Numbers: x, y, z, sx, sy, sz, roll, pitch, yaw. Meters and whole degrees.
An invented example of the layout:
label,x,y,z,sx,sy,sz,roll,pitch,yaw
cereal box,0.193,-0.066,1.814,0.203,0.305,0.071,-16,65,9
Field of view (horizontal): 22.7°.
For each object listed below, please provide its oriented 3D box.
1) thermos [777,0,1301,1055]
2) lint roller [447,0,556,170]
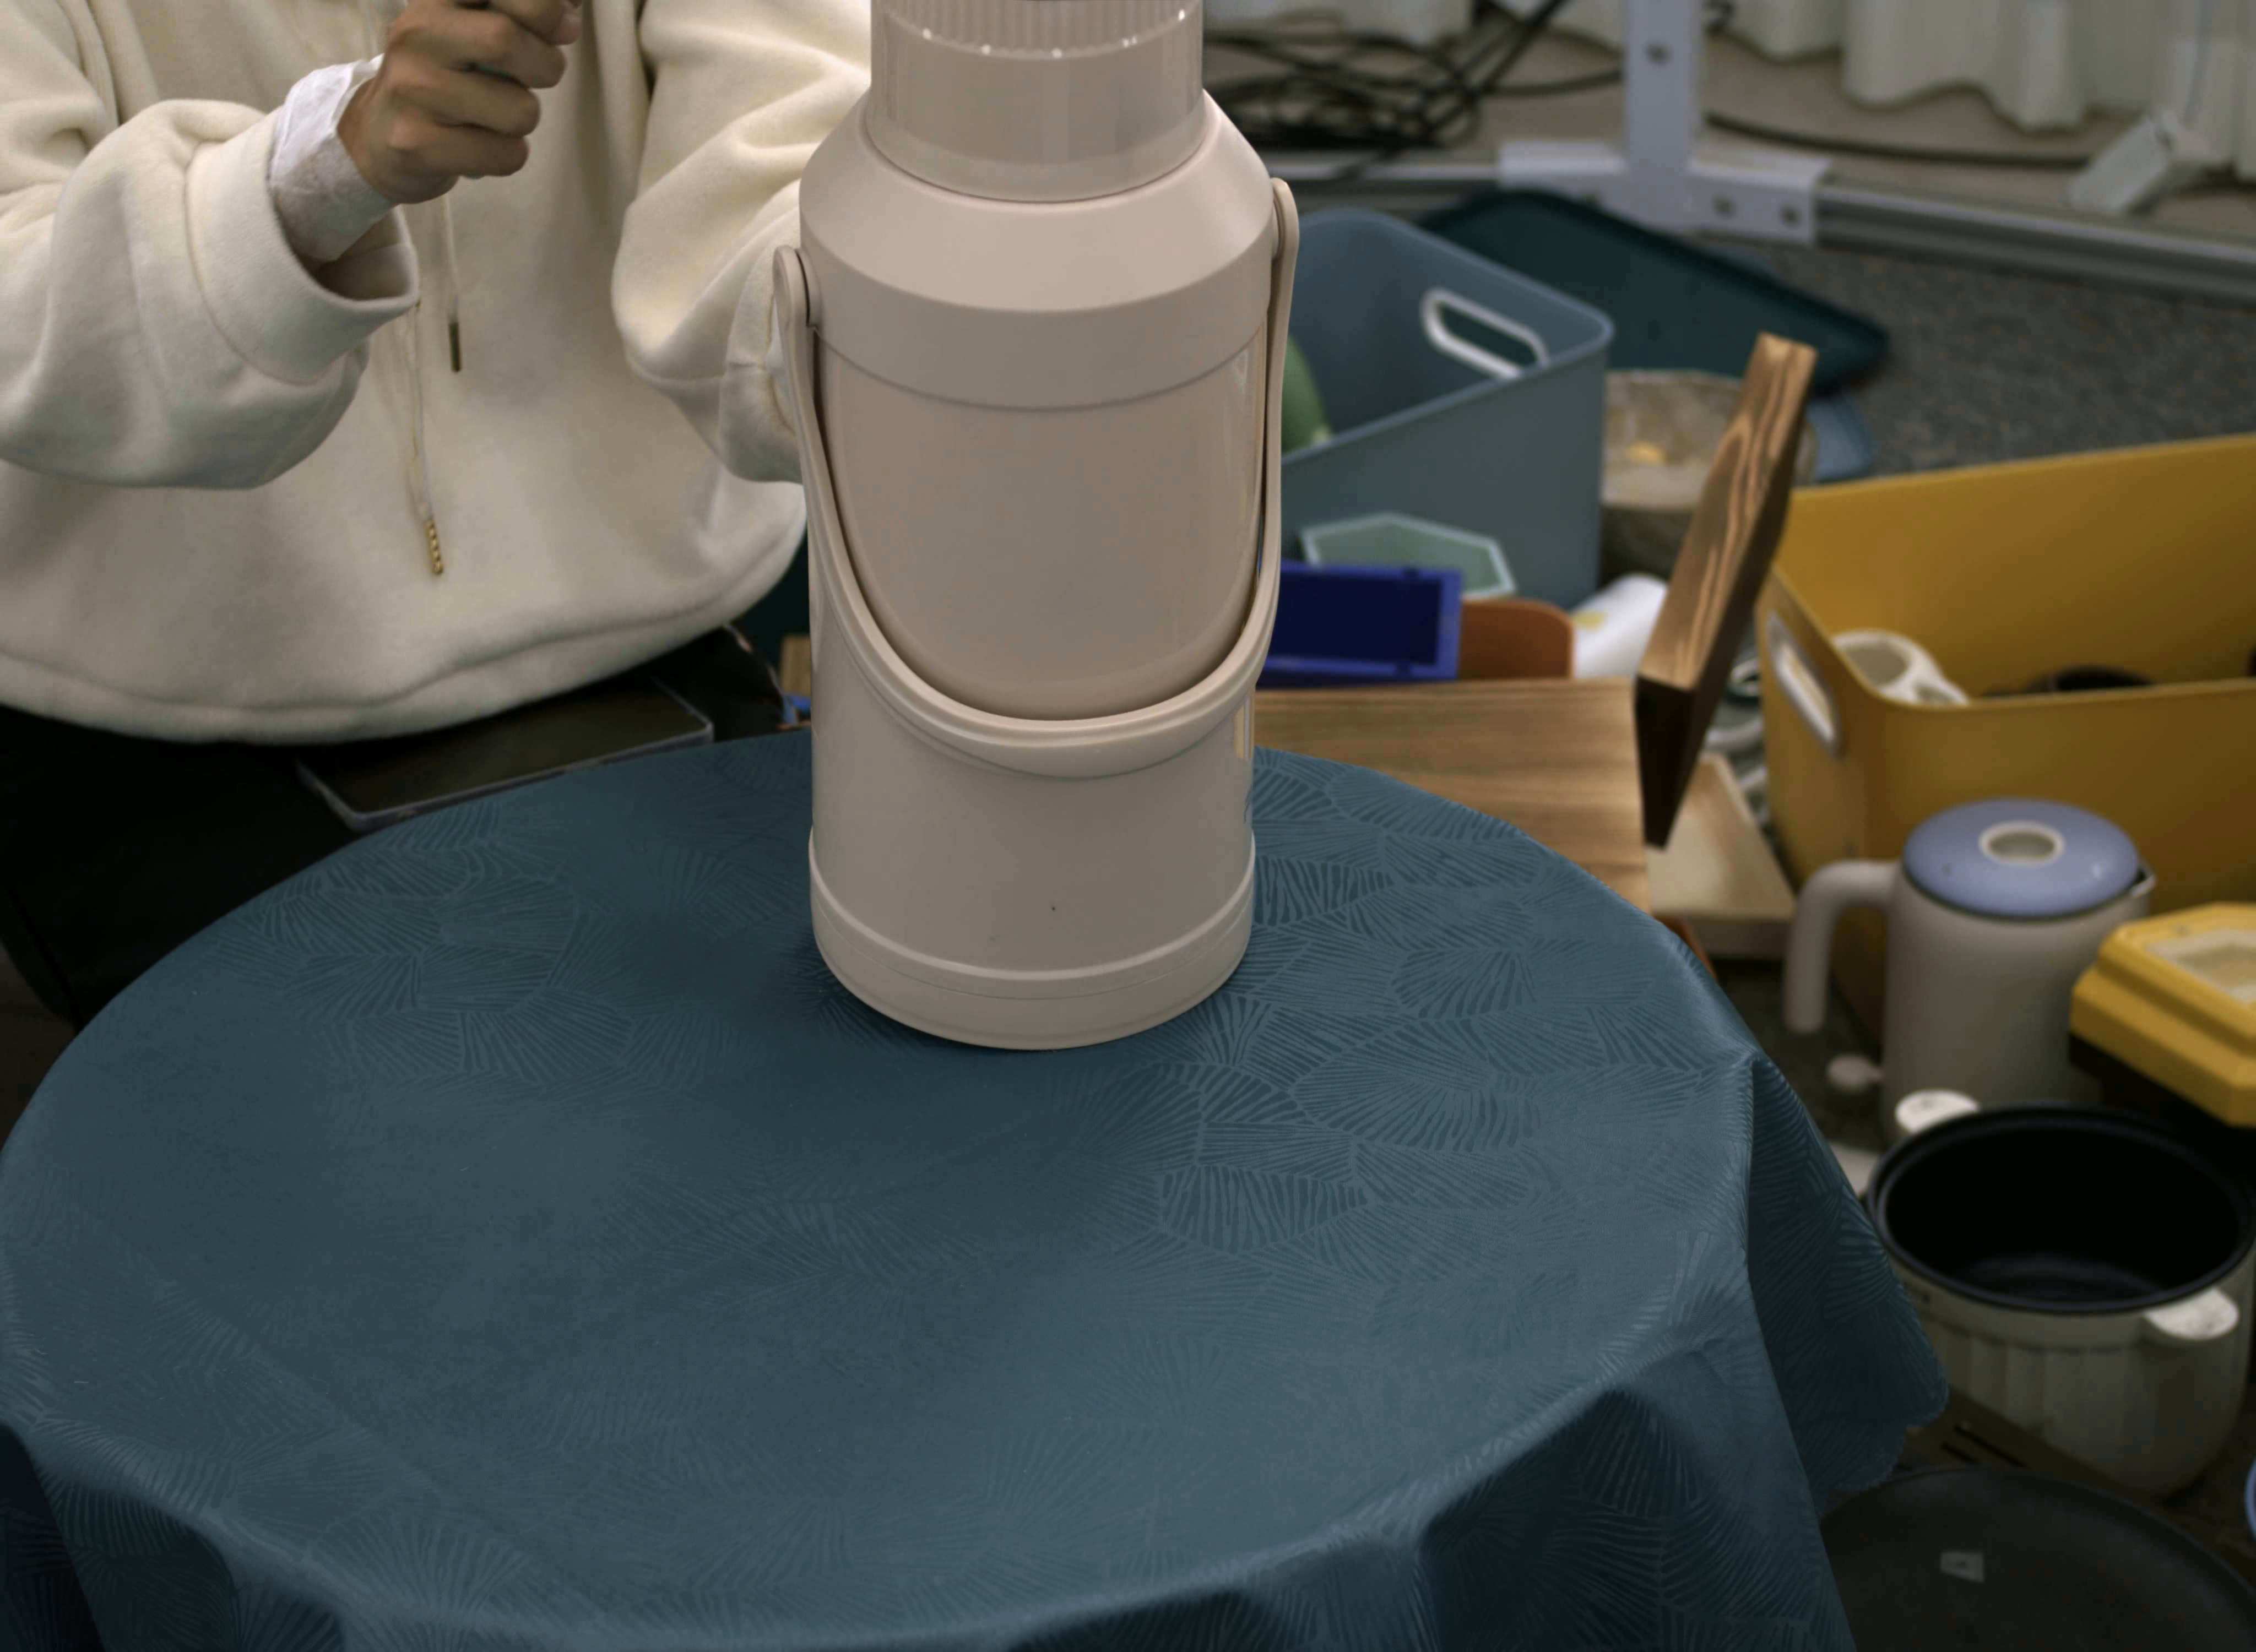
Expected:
label,x,y,z,sx,sy,sz,roll,pitch,yaw
thermos,-0.034,-0.136,1.915,0.175,0.401,0.209,-9,35,-15
lint roller,-0.171,-0.288,1.855,0.194,0.048,0.119,-37,19,34
